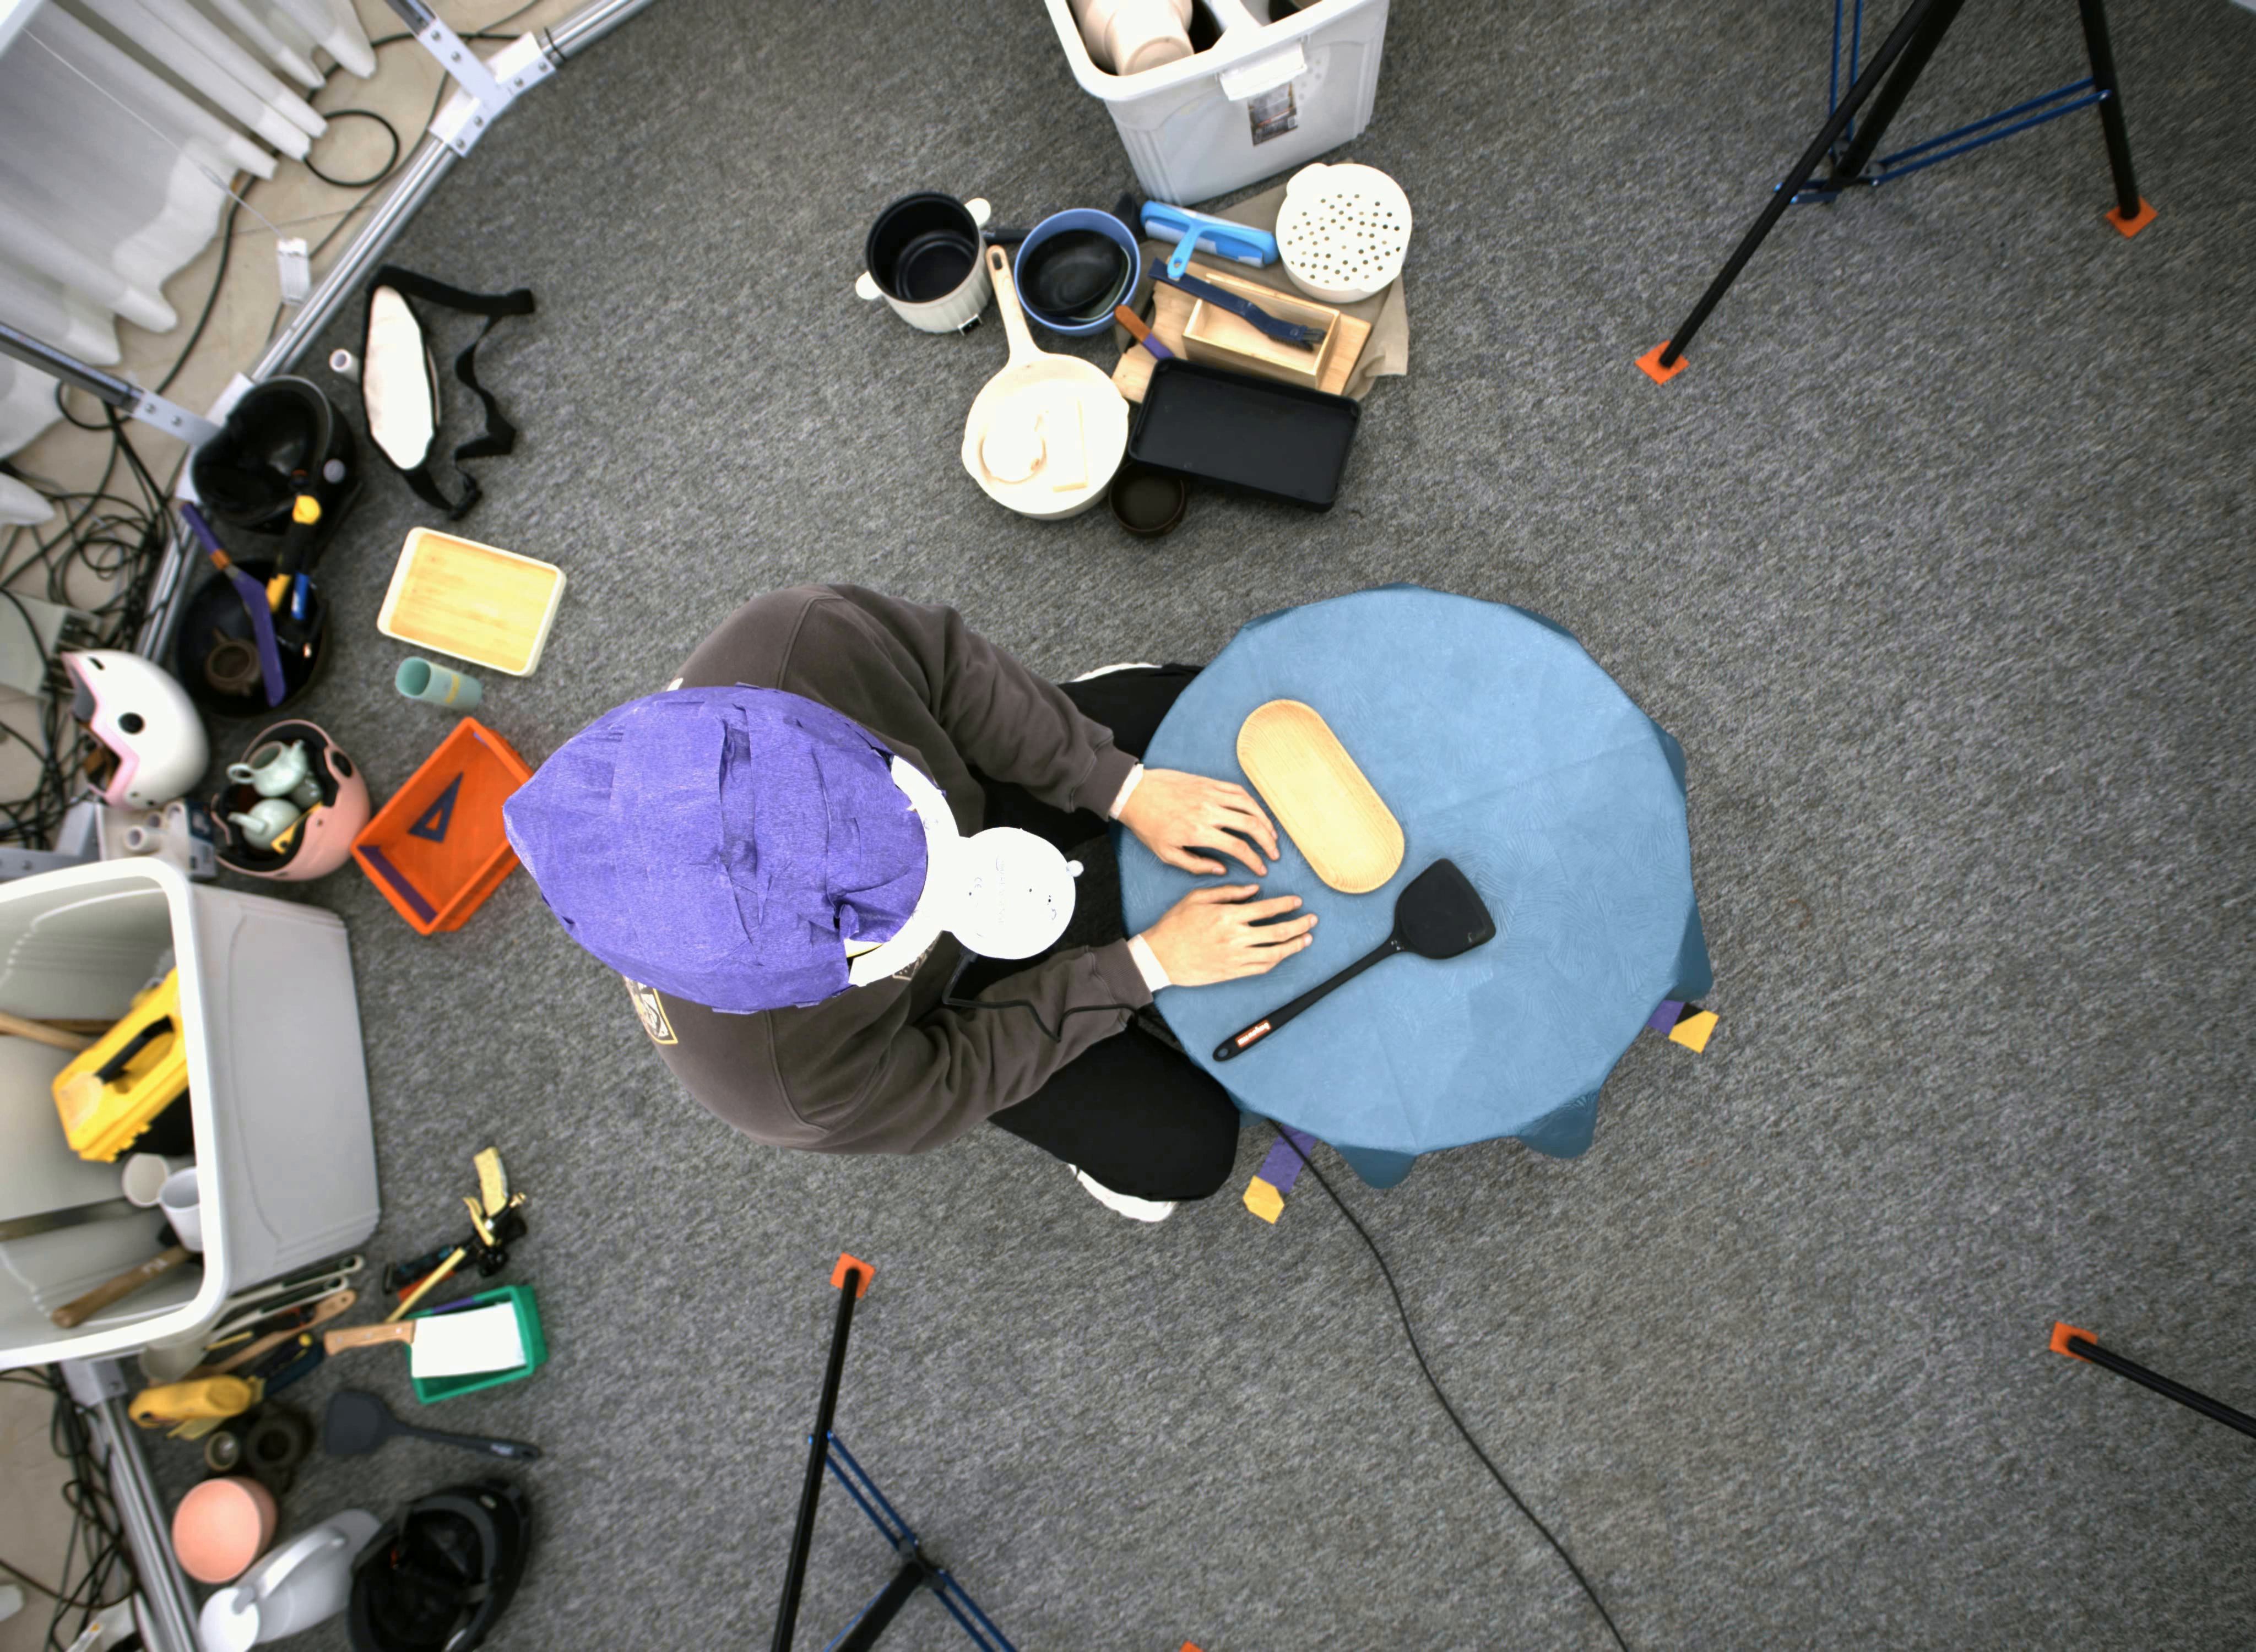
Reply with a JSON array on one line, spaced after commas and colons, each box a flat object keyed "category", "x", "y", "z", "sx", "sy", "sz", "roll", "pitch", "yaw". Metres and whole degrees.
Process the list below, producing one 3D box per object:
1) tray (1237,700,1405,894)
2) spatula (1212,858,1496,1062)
[{"category": "tray", "x": 0.204, "y": -0.032, "z": 1.467, "sx": 0.102, "sy": 0.020, "sz": 0.230, "roll": -36, "pitch": 83, "yaw": 7}, {"category": "spatula", "x": 0.223, "y": 0.156, "z": 1.444, "sx": 0.328, "sy": 0.040, "sz": 0.099, "roll": -33, "pitch": 80, "yaw": 7}]
